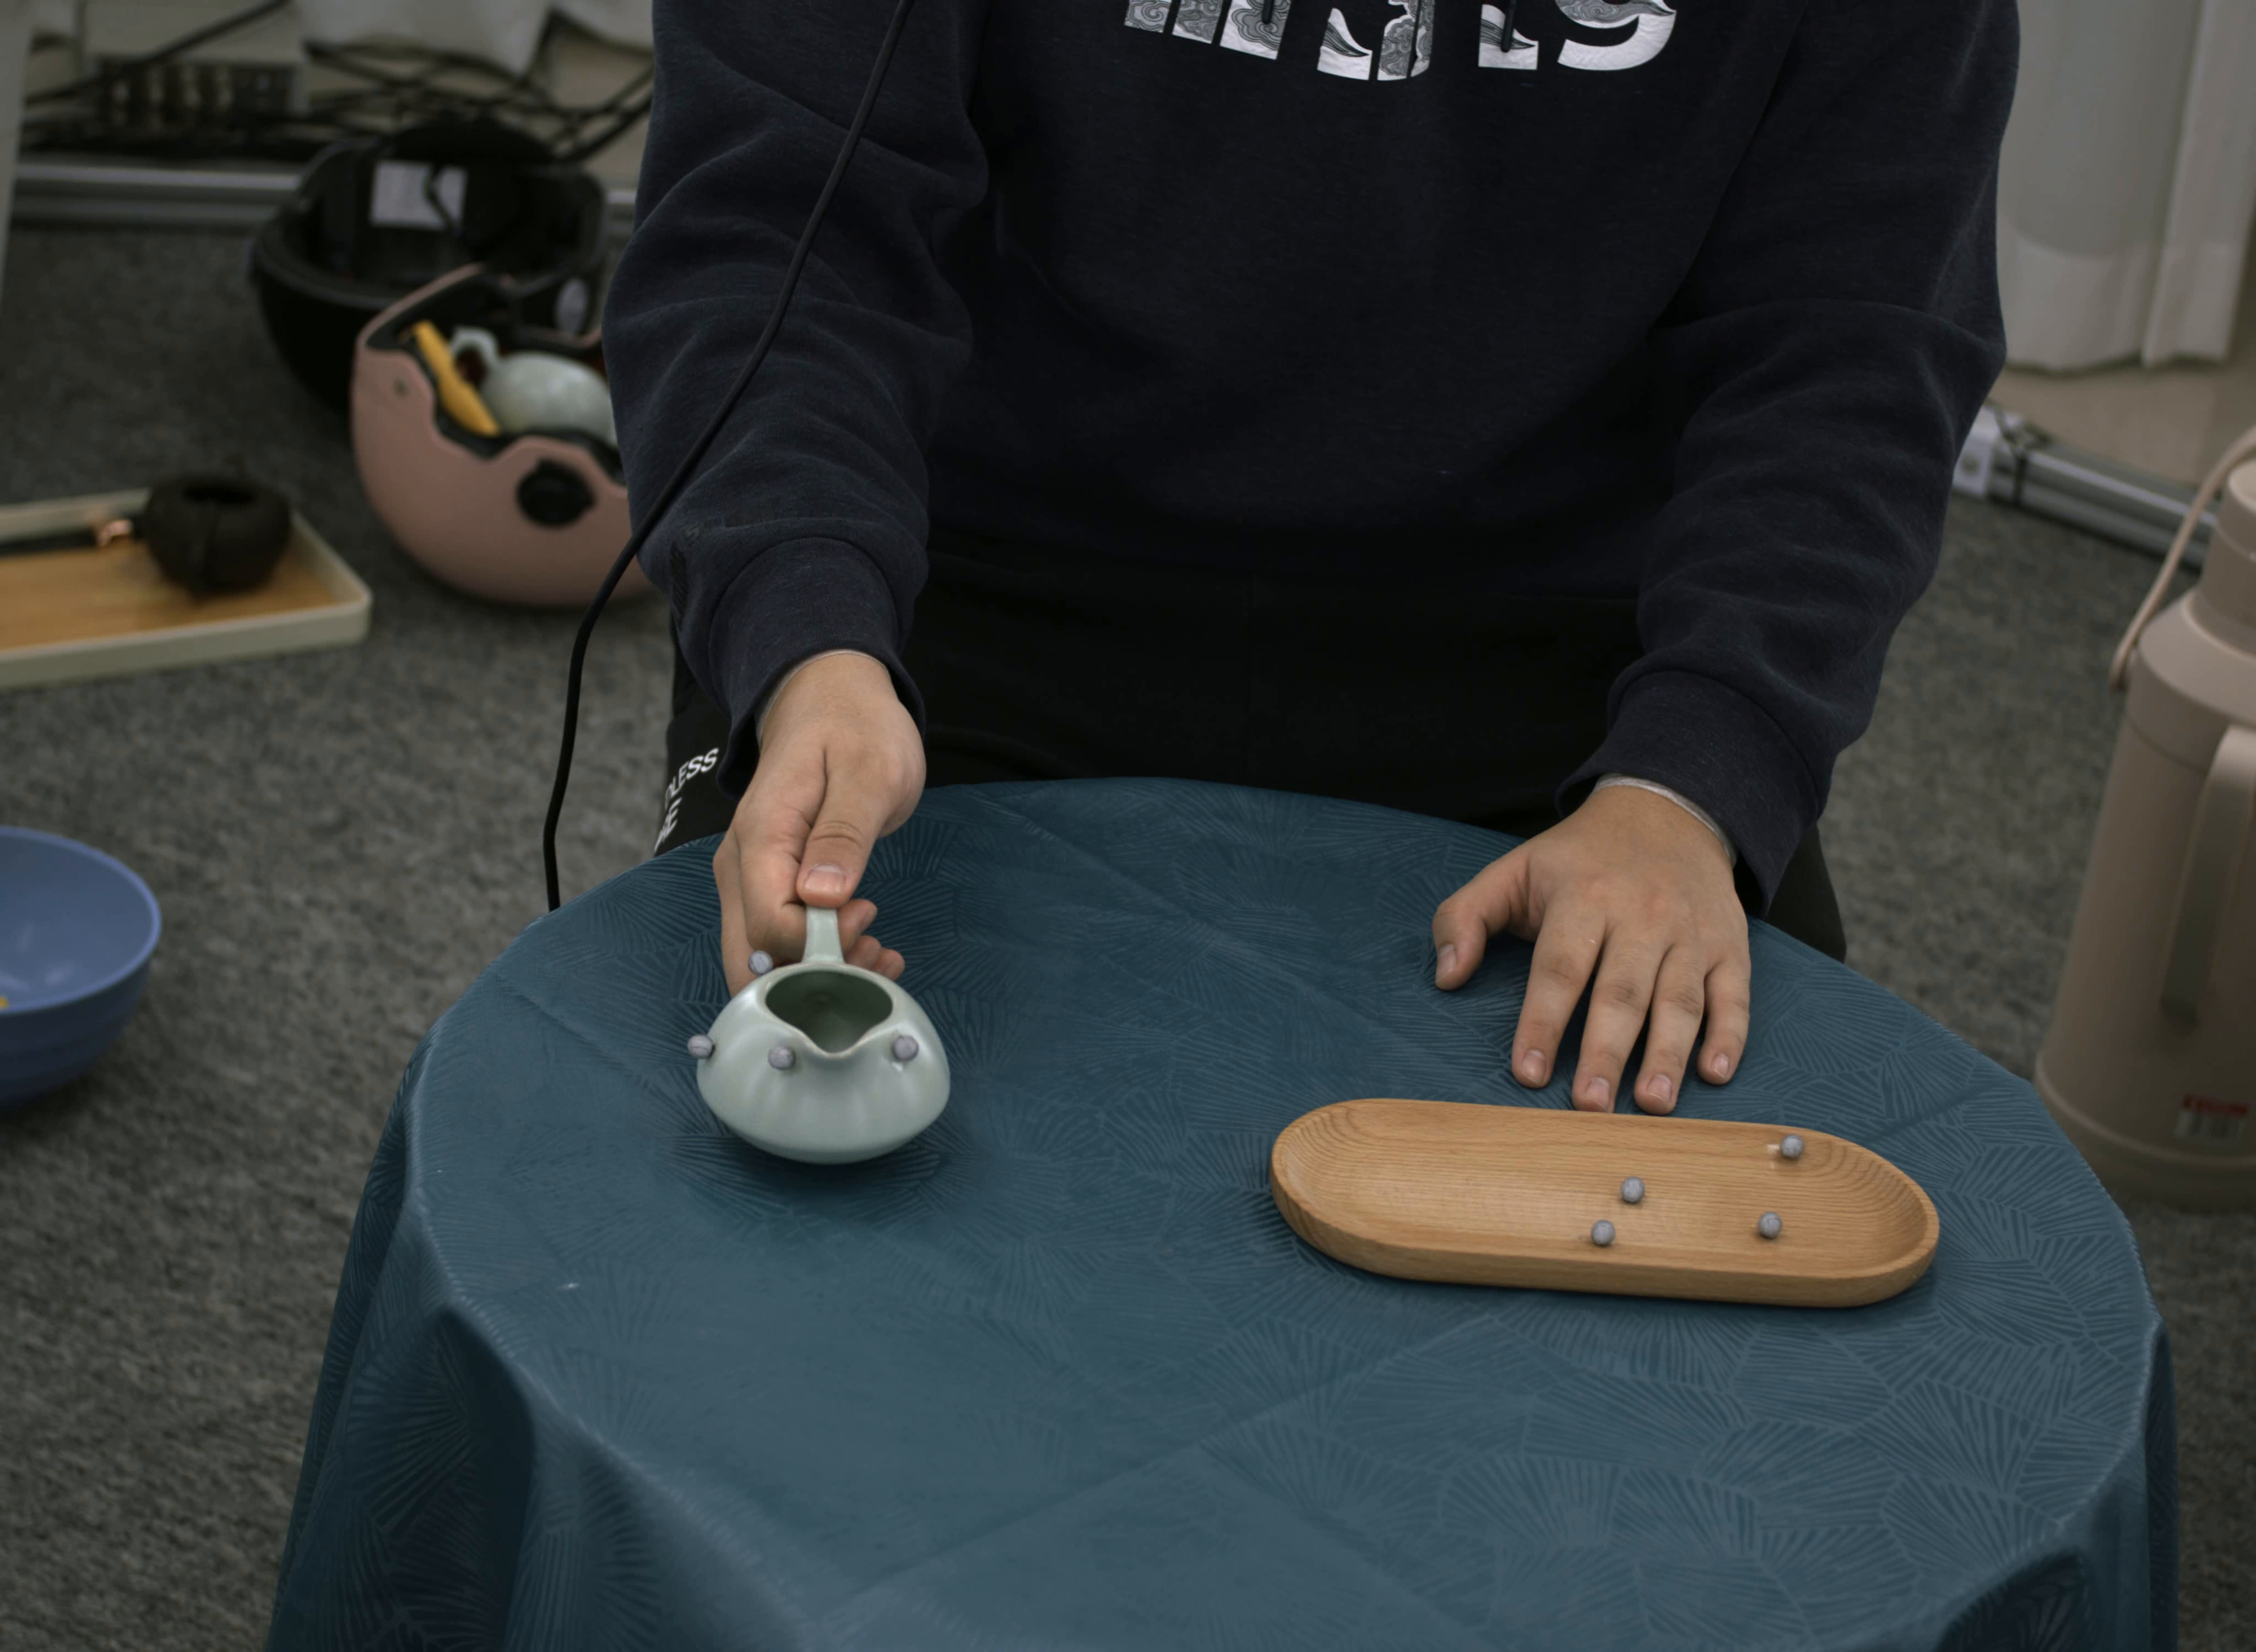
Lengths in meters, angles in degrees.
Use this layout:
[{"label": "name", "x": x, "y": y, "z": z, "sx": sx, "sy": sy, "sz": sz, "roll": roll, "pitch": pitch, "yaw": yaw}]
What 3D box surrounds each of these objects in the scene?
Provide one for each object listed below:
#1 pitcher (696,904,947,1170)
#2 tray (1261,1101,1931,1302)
[{"label": "pitcher", "x": -0.104, "y": 0.073, "z": 1.809, "sx": 0.085, "sy": 0.060, "sz": 0.109, "roll": 2, "pitch": 29, "yaw": -9}, {"label": "tray", "x": 0.160, "y": 0.129, "z": 1.817, "sx": 0.230, "sy": 0.020, "sz": 0.102, "roll": 2, "pitch": 26, "yaw": -5}]
